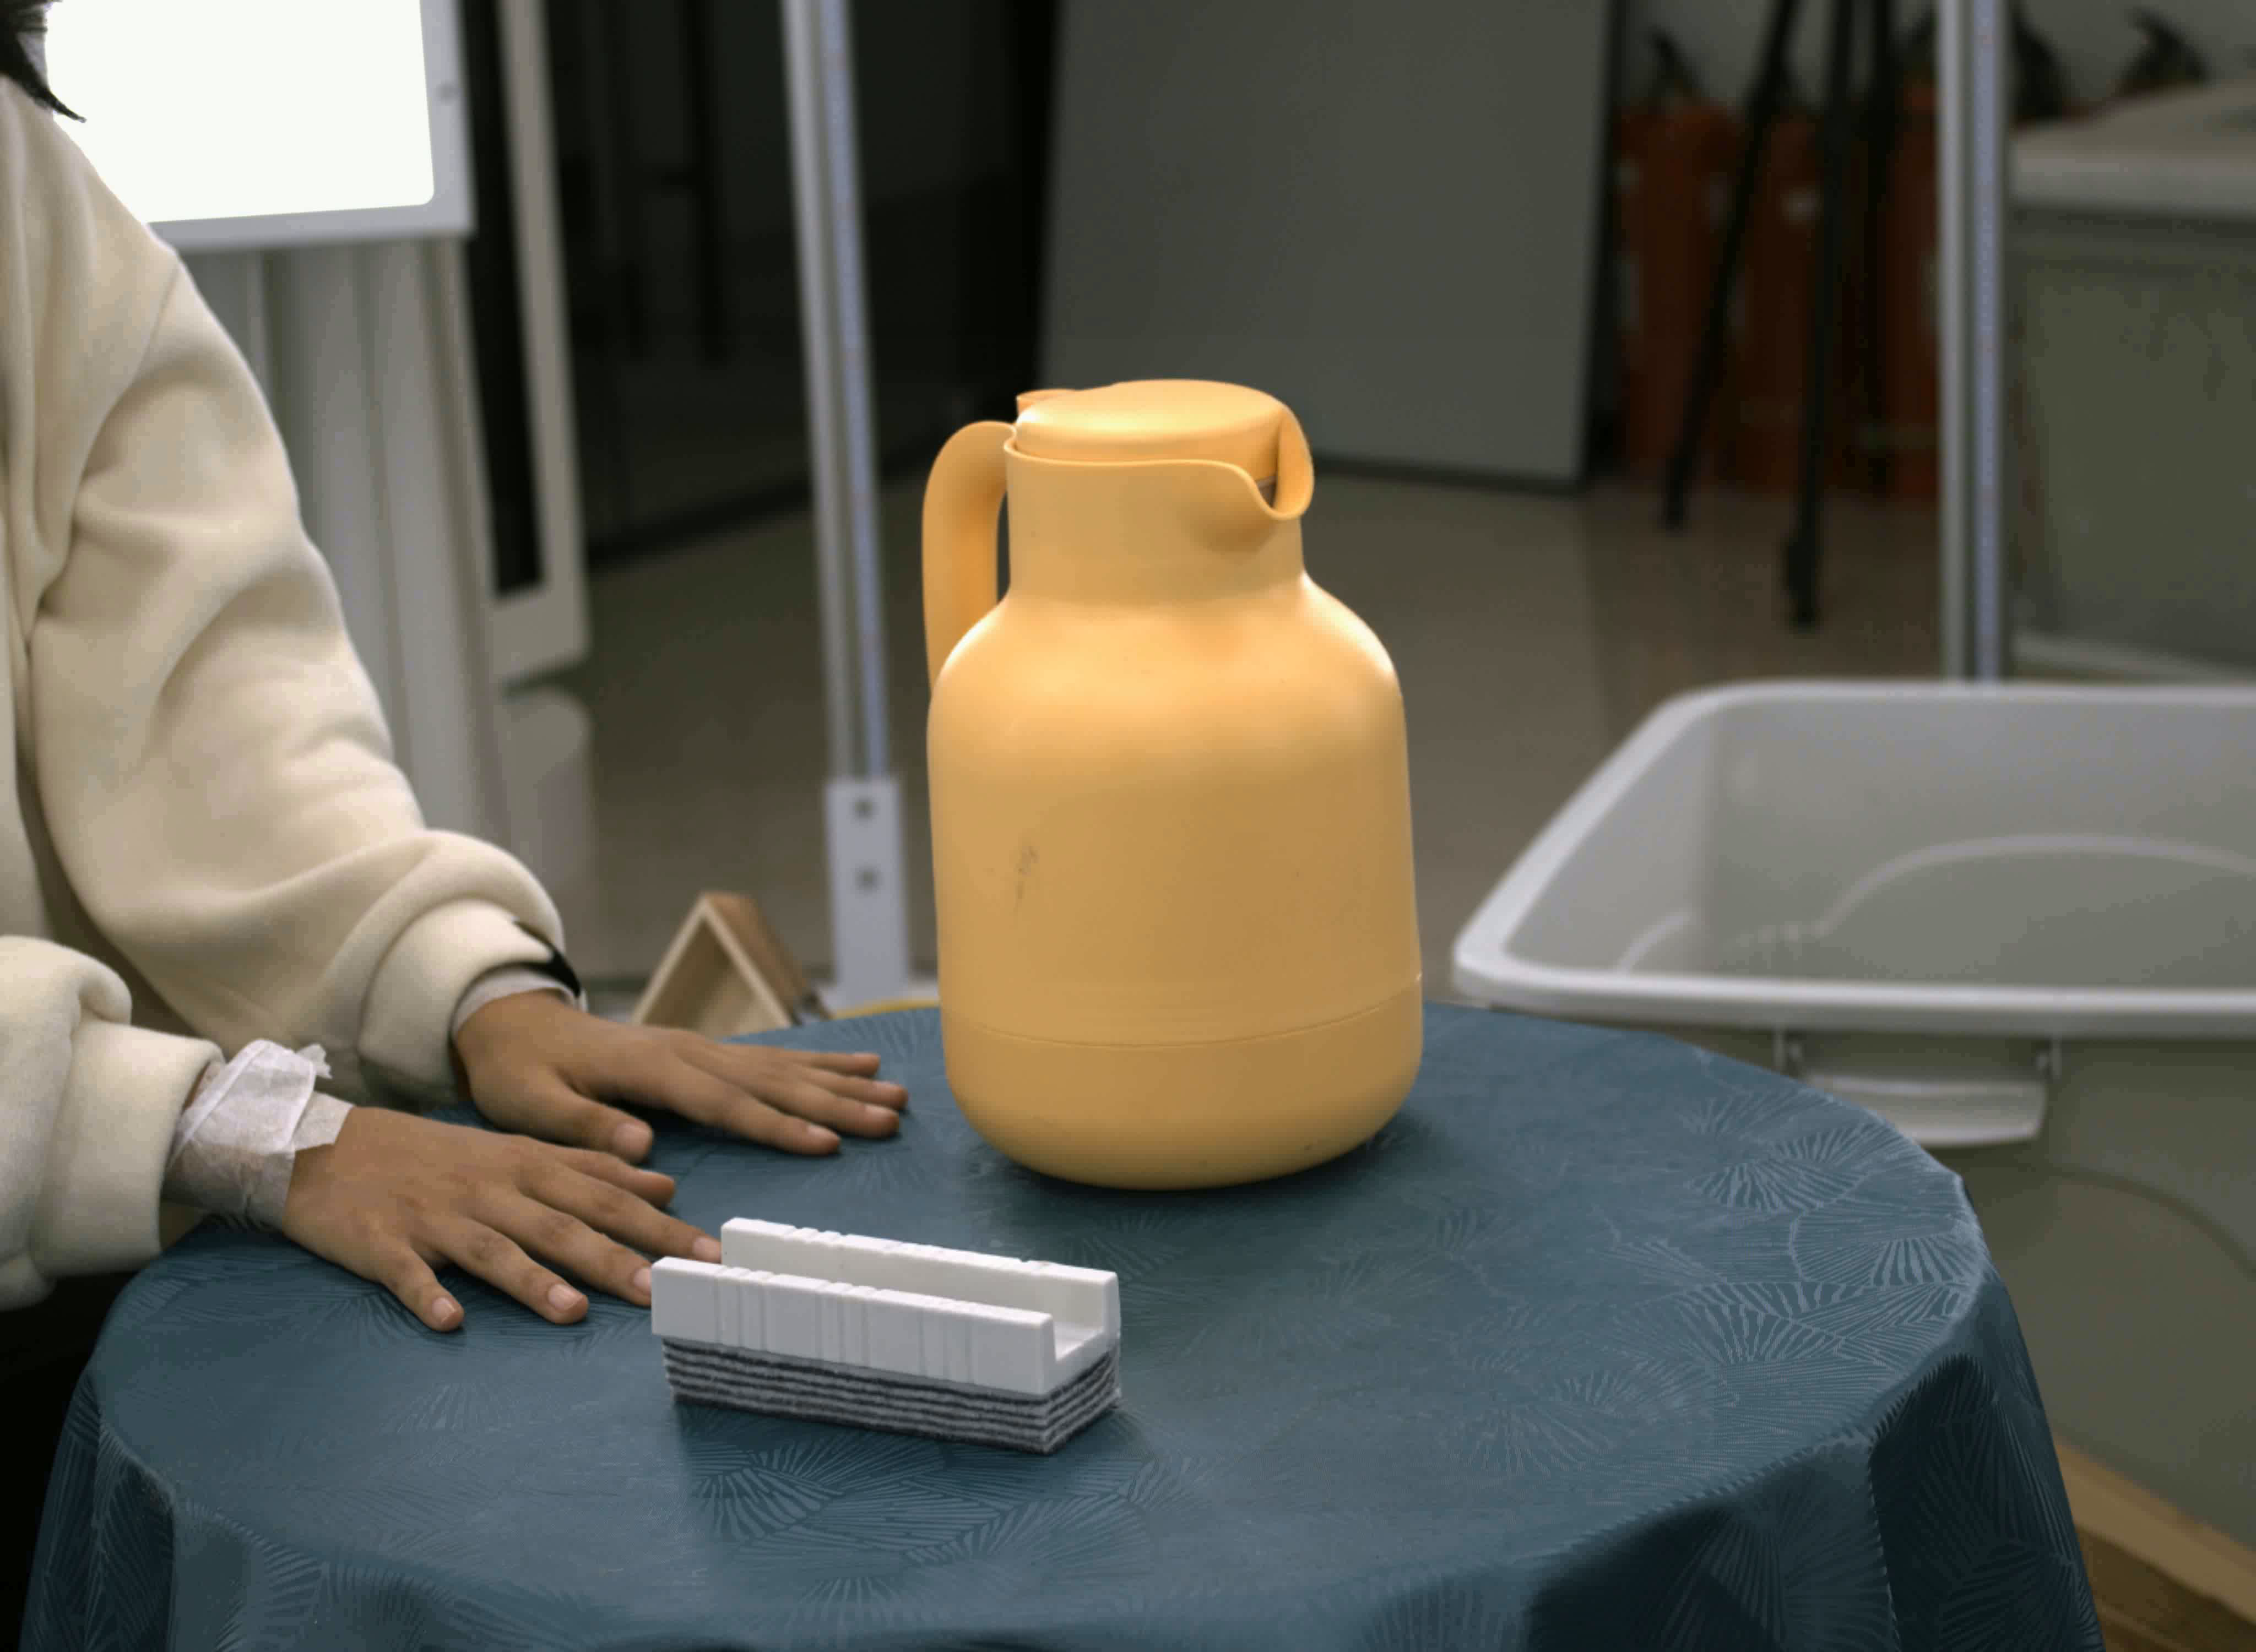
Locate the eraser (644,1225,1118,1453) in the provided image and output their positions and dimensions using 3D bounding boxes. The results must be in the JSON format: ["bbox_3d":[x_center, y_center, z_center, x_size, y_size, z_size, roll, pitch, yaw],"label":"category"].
[{"bbox_3d":[-0.072,0.149,1.580,0.134,0.047,0.049,4,19,27],"label":"eraser"}]

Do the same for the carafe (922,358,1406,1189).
[{"bbox_3d":[0.001,-0.024,1.802,0.160,0.263,0.204,-9,15,-33],"label":"carafe"}]
